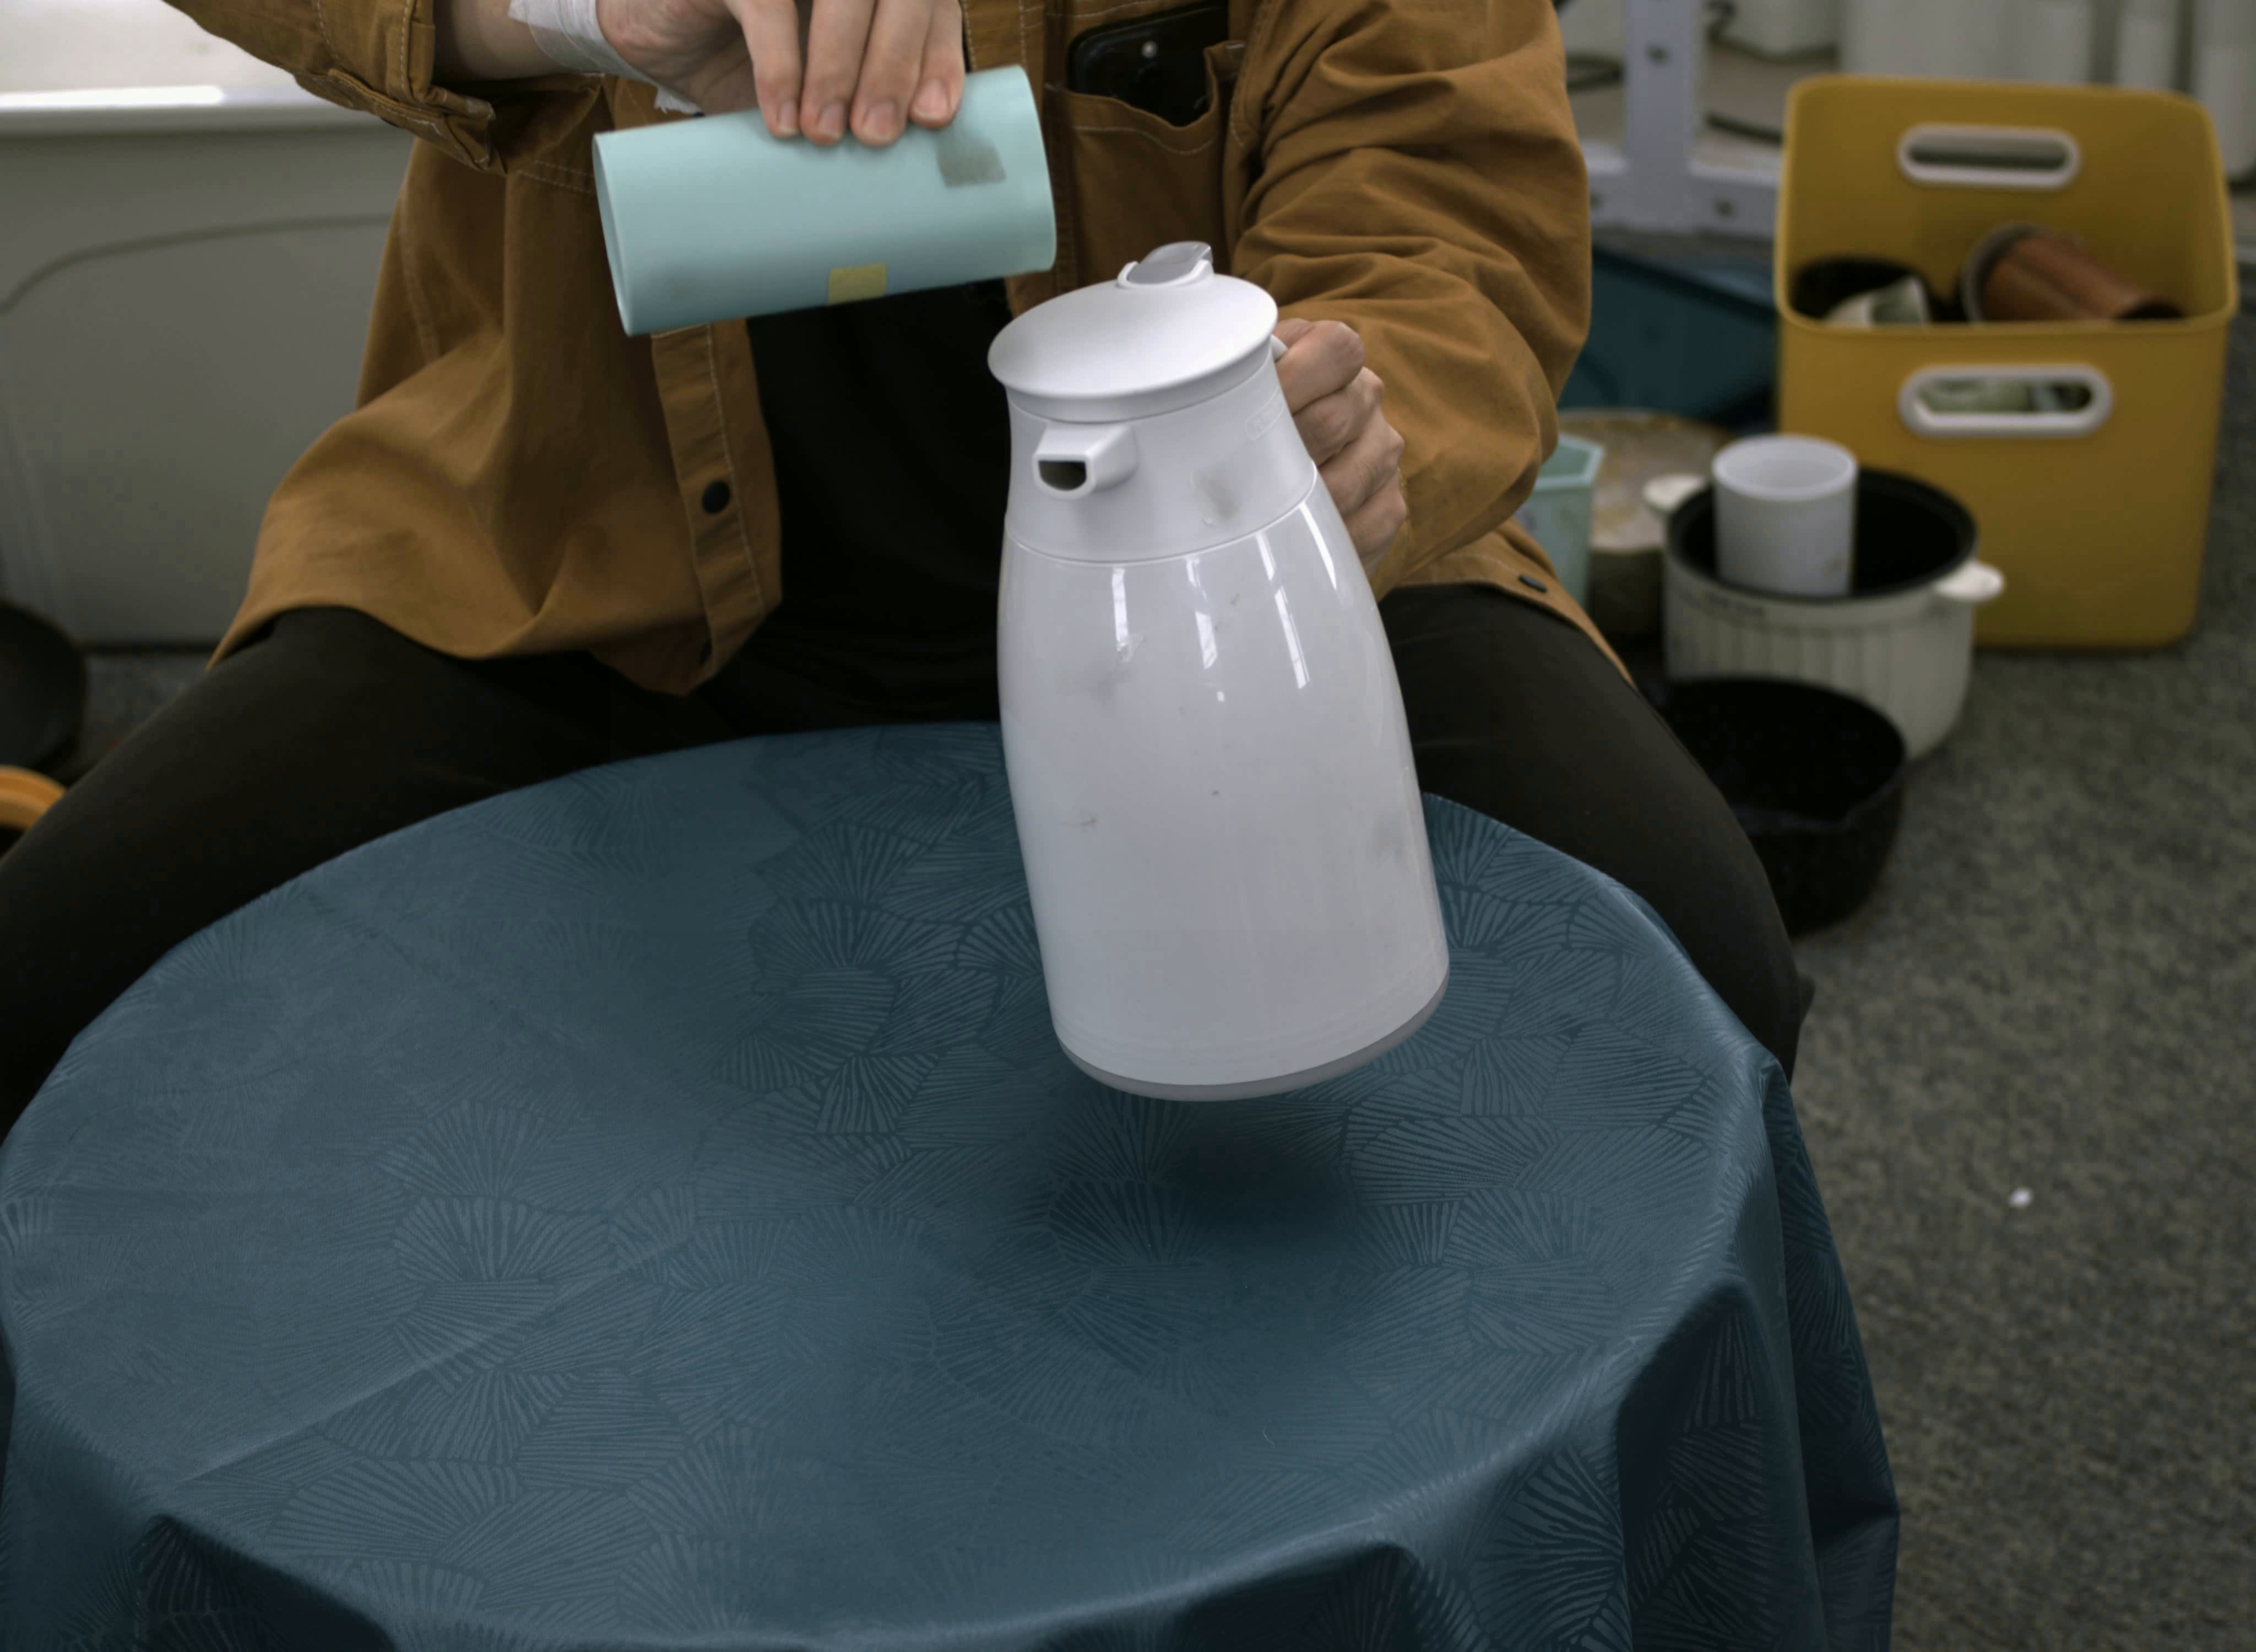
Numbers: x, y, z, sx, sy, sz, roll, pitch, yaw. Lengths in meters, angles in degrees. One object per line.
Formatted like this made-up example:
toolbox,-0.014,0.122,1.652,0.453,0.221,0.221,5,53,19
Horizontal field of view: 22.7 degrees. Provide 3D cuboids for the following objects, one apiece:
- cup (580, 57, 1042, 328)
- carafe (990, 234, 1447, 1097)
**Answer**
cup,-0.096,-0.193,1.708,0.132,0.066,0.067,-10,28,-9
carafe,0.026,-0.062,1.810,0.131,0.246,0.170,1,27,24
